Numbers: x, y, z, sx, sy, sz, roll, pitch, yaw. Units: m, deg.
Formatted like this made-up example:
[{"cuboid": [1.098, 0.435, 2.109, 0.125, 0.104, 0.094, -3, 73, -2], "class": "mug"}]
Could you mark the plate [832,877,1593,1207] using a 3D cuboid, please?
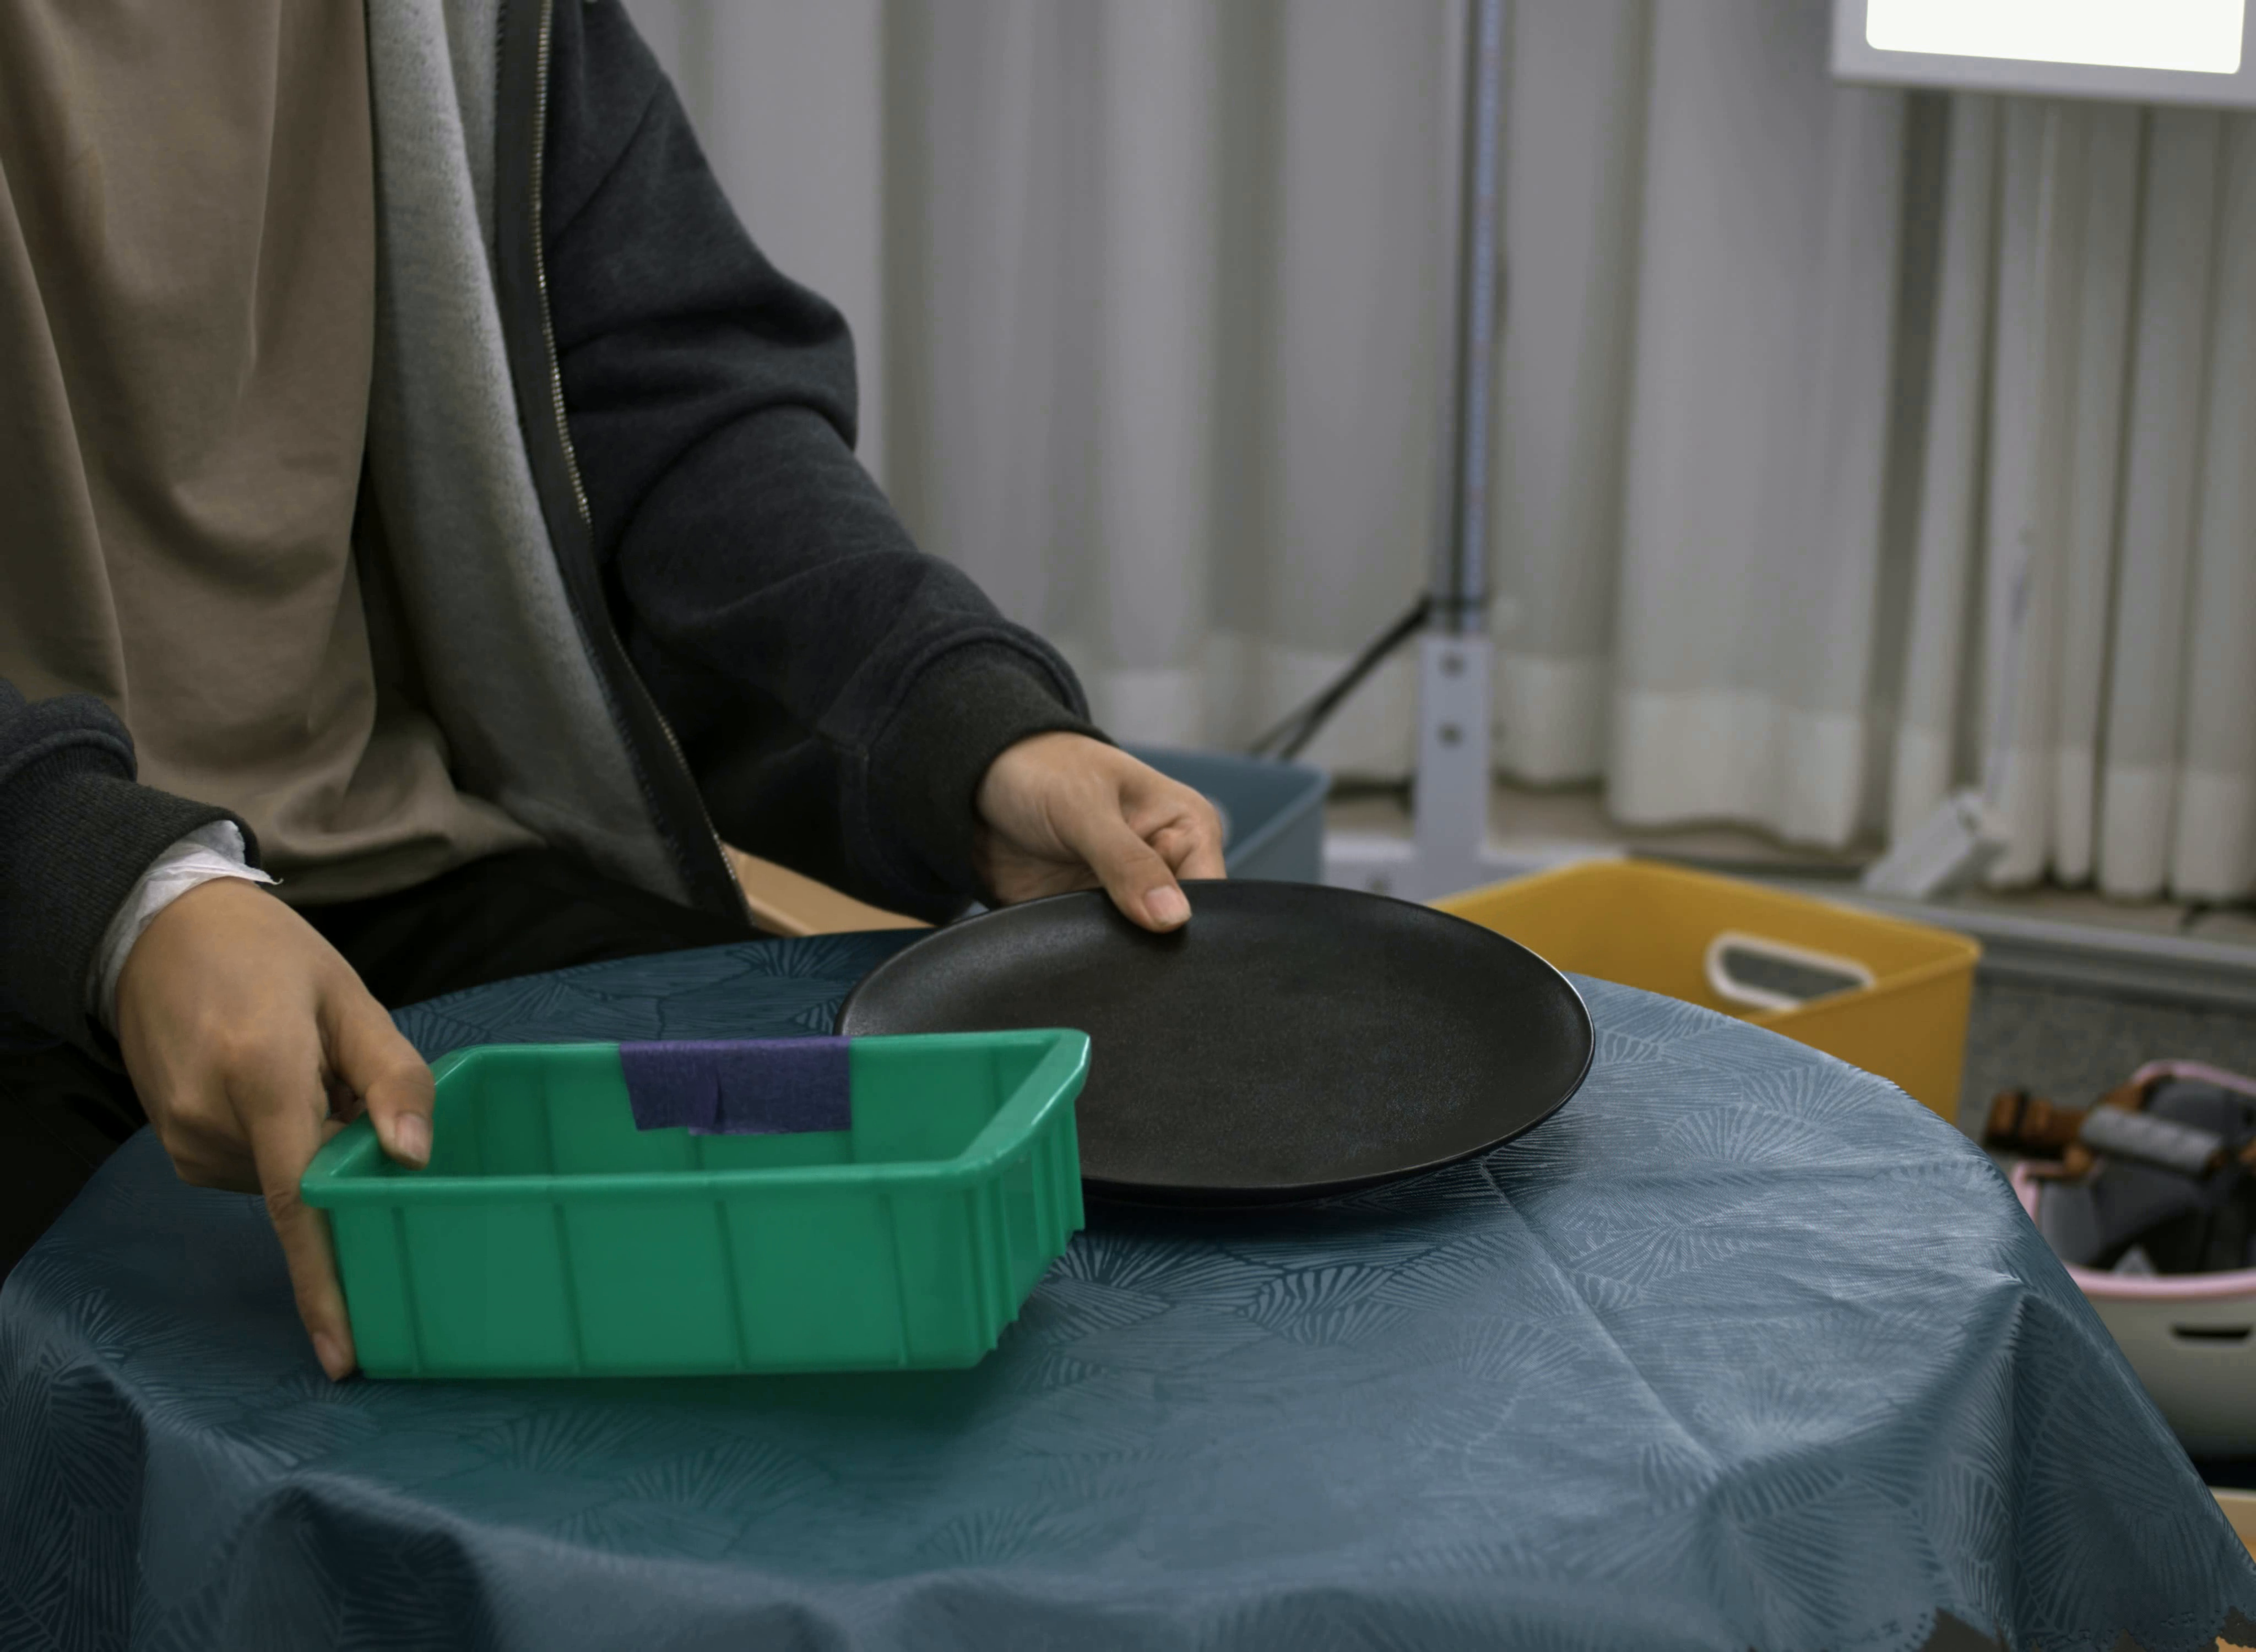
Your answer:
[{"cuboid": [0.027, 0.072, 1.687, 0.243, 0.023, 0.242, 0, 22, 1], "class": "plate"}]

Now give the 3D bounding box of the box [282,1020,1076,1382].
[{"cuboid": [-0.121, 0.107, 1.489, 0.209, 0.066, 0.138, -4, 12, 13], "class": "box"}]
